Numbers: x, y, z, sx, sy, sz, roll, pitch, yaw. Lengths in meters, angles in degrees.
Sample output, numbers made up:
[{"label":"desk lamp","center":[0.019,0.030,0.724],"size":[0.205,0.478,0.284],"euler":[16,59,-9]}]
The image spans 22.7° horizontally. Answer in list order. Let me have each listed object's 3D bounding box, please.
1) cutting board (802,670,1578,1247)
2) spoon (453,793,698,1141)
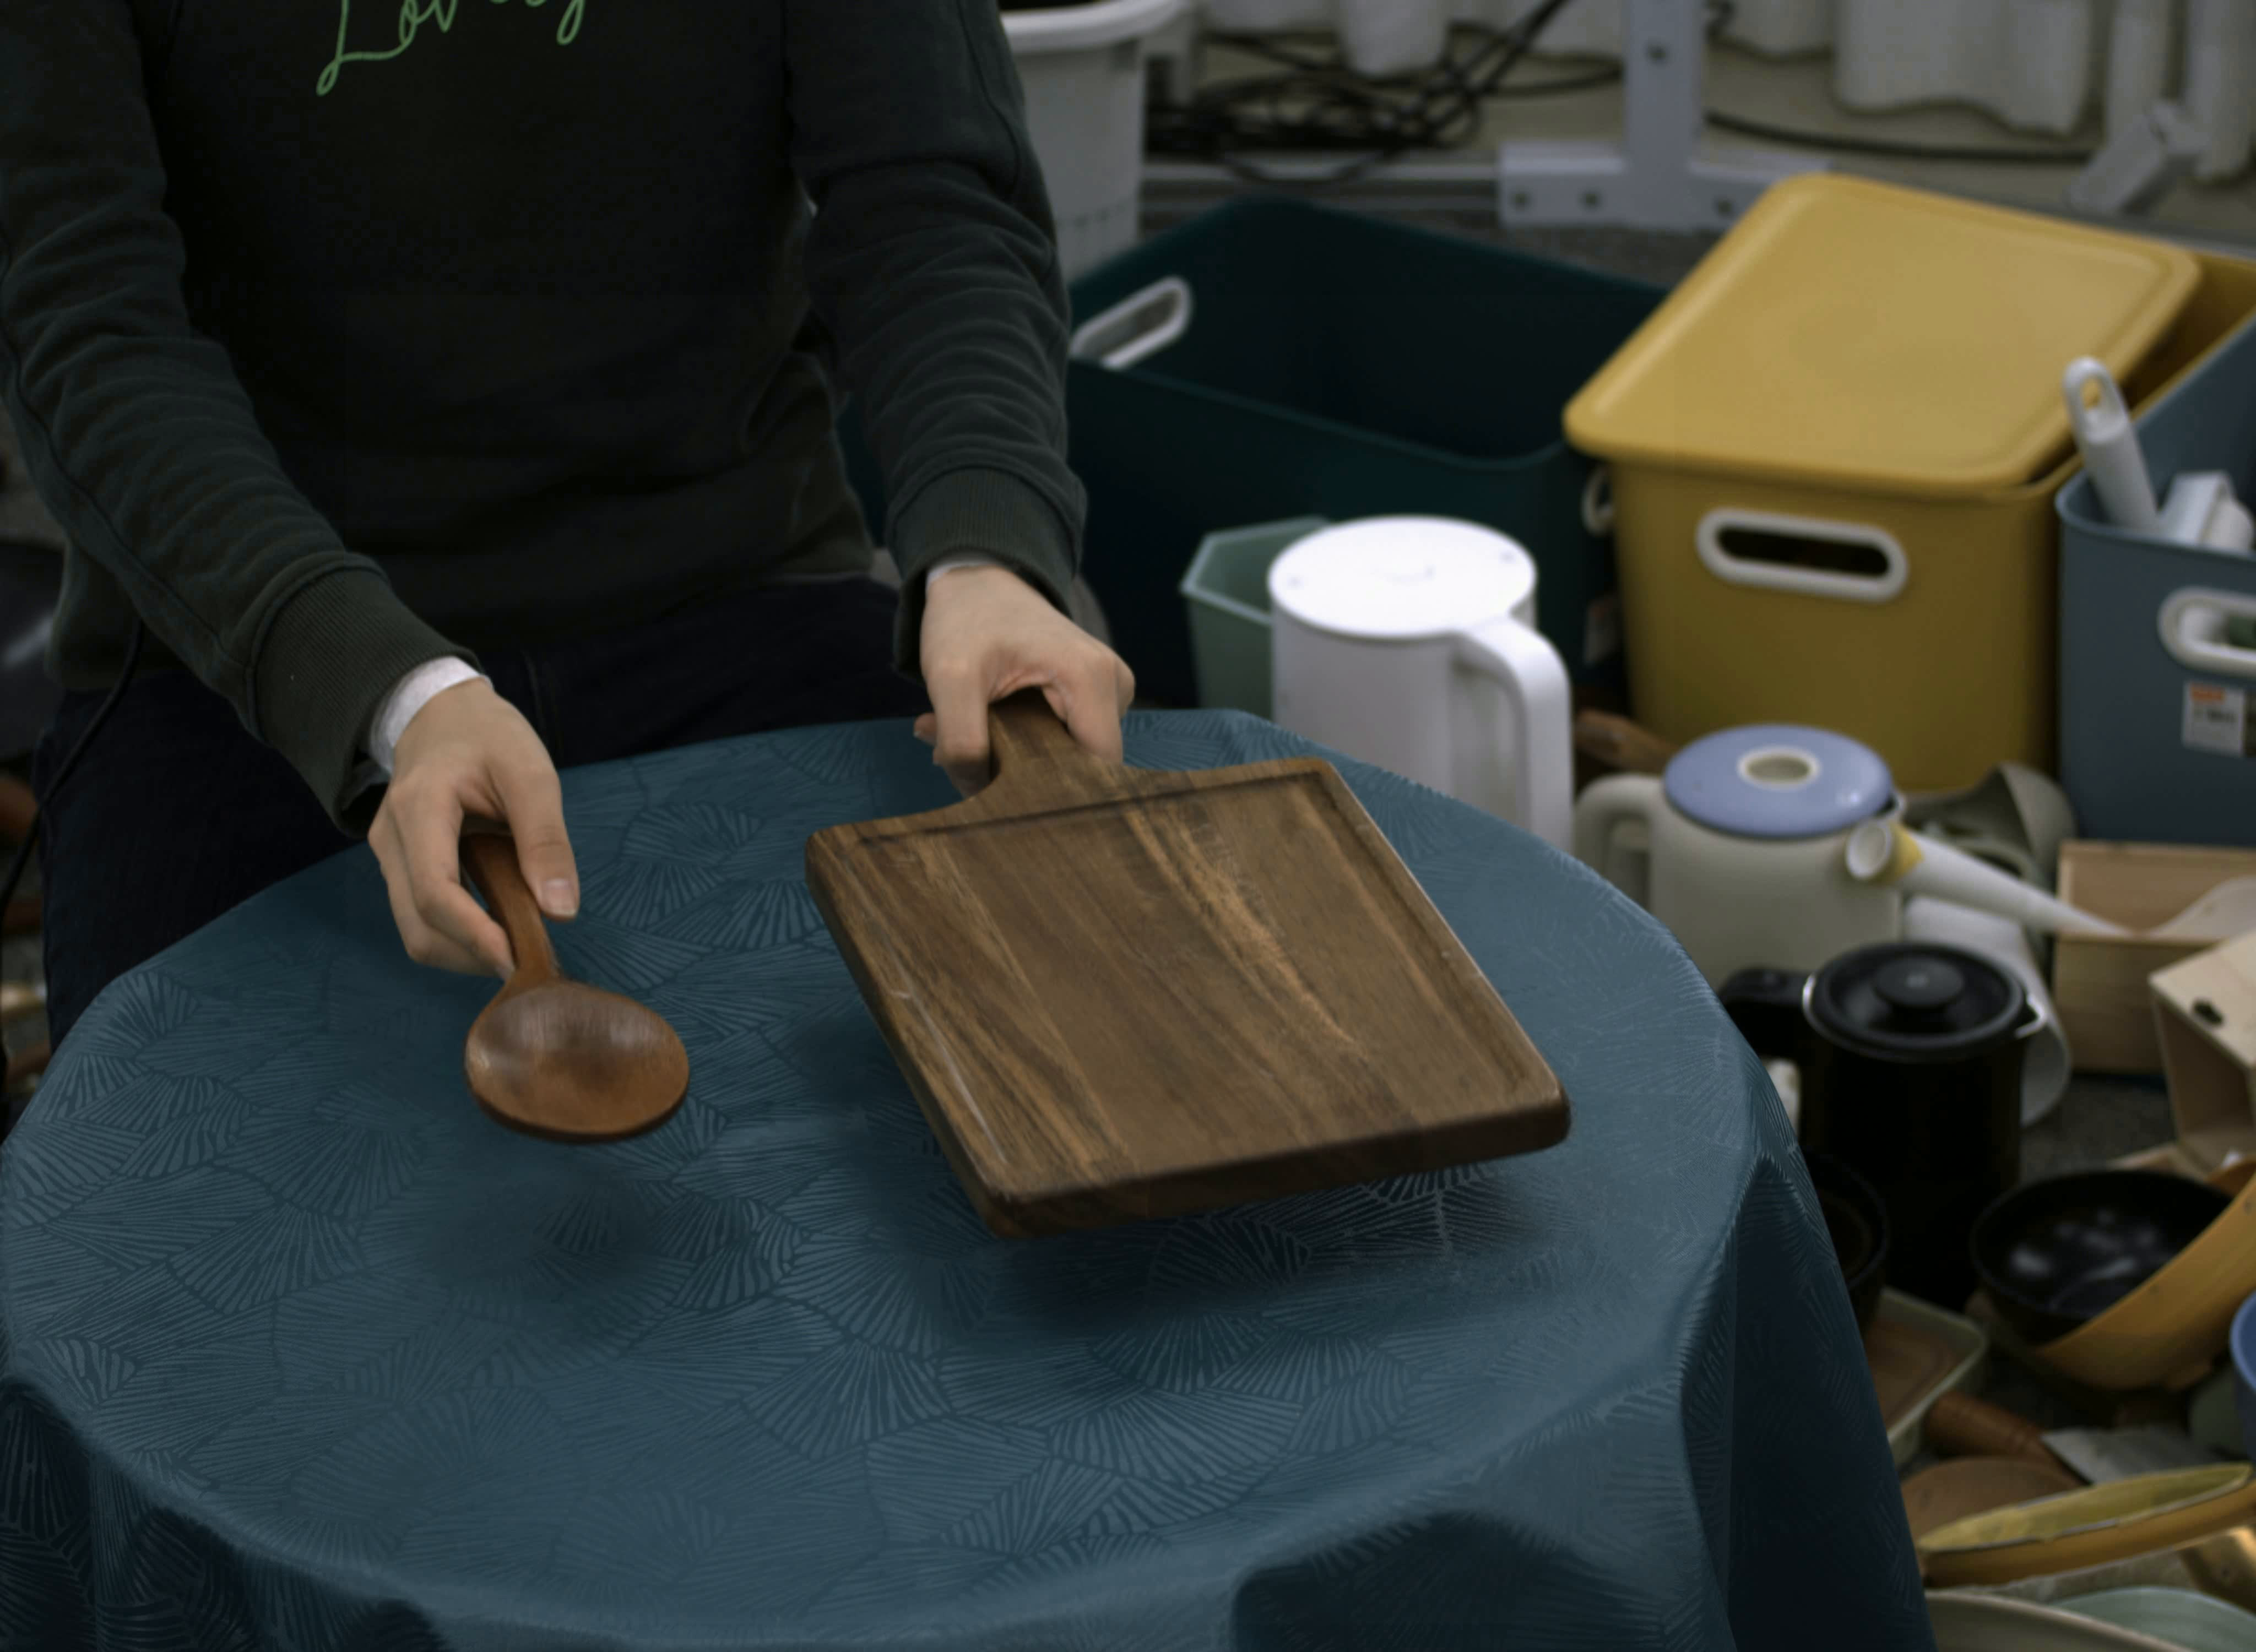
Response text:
[{"label":"cutting board","center":[0.001,0.031,1.924],"size":[0.201,0.023,0.356],"euler":[-9,29,-15]},{"label":"spoon","center":[-0.196,0.048,1.880],"size":[0.075,0.017,0.218],"euler":[-7,32,-15]}]
